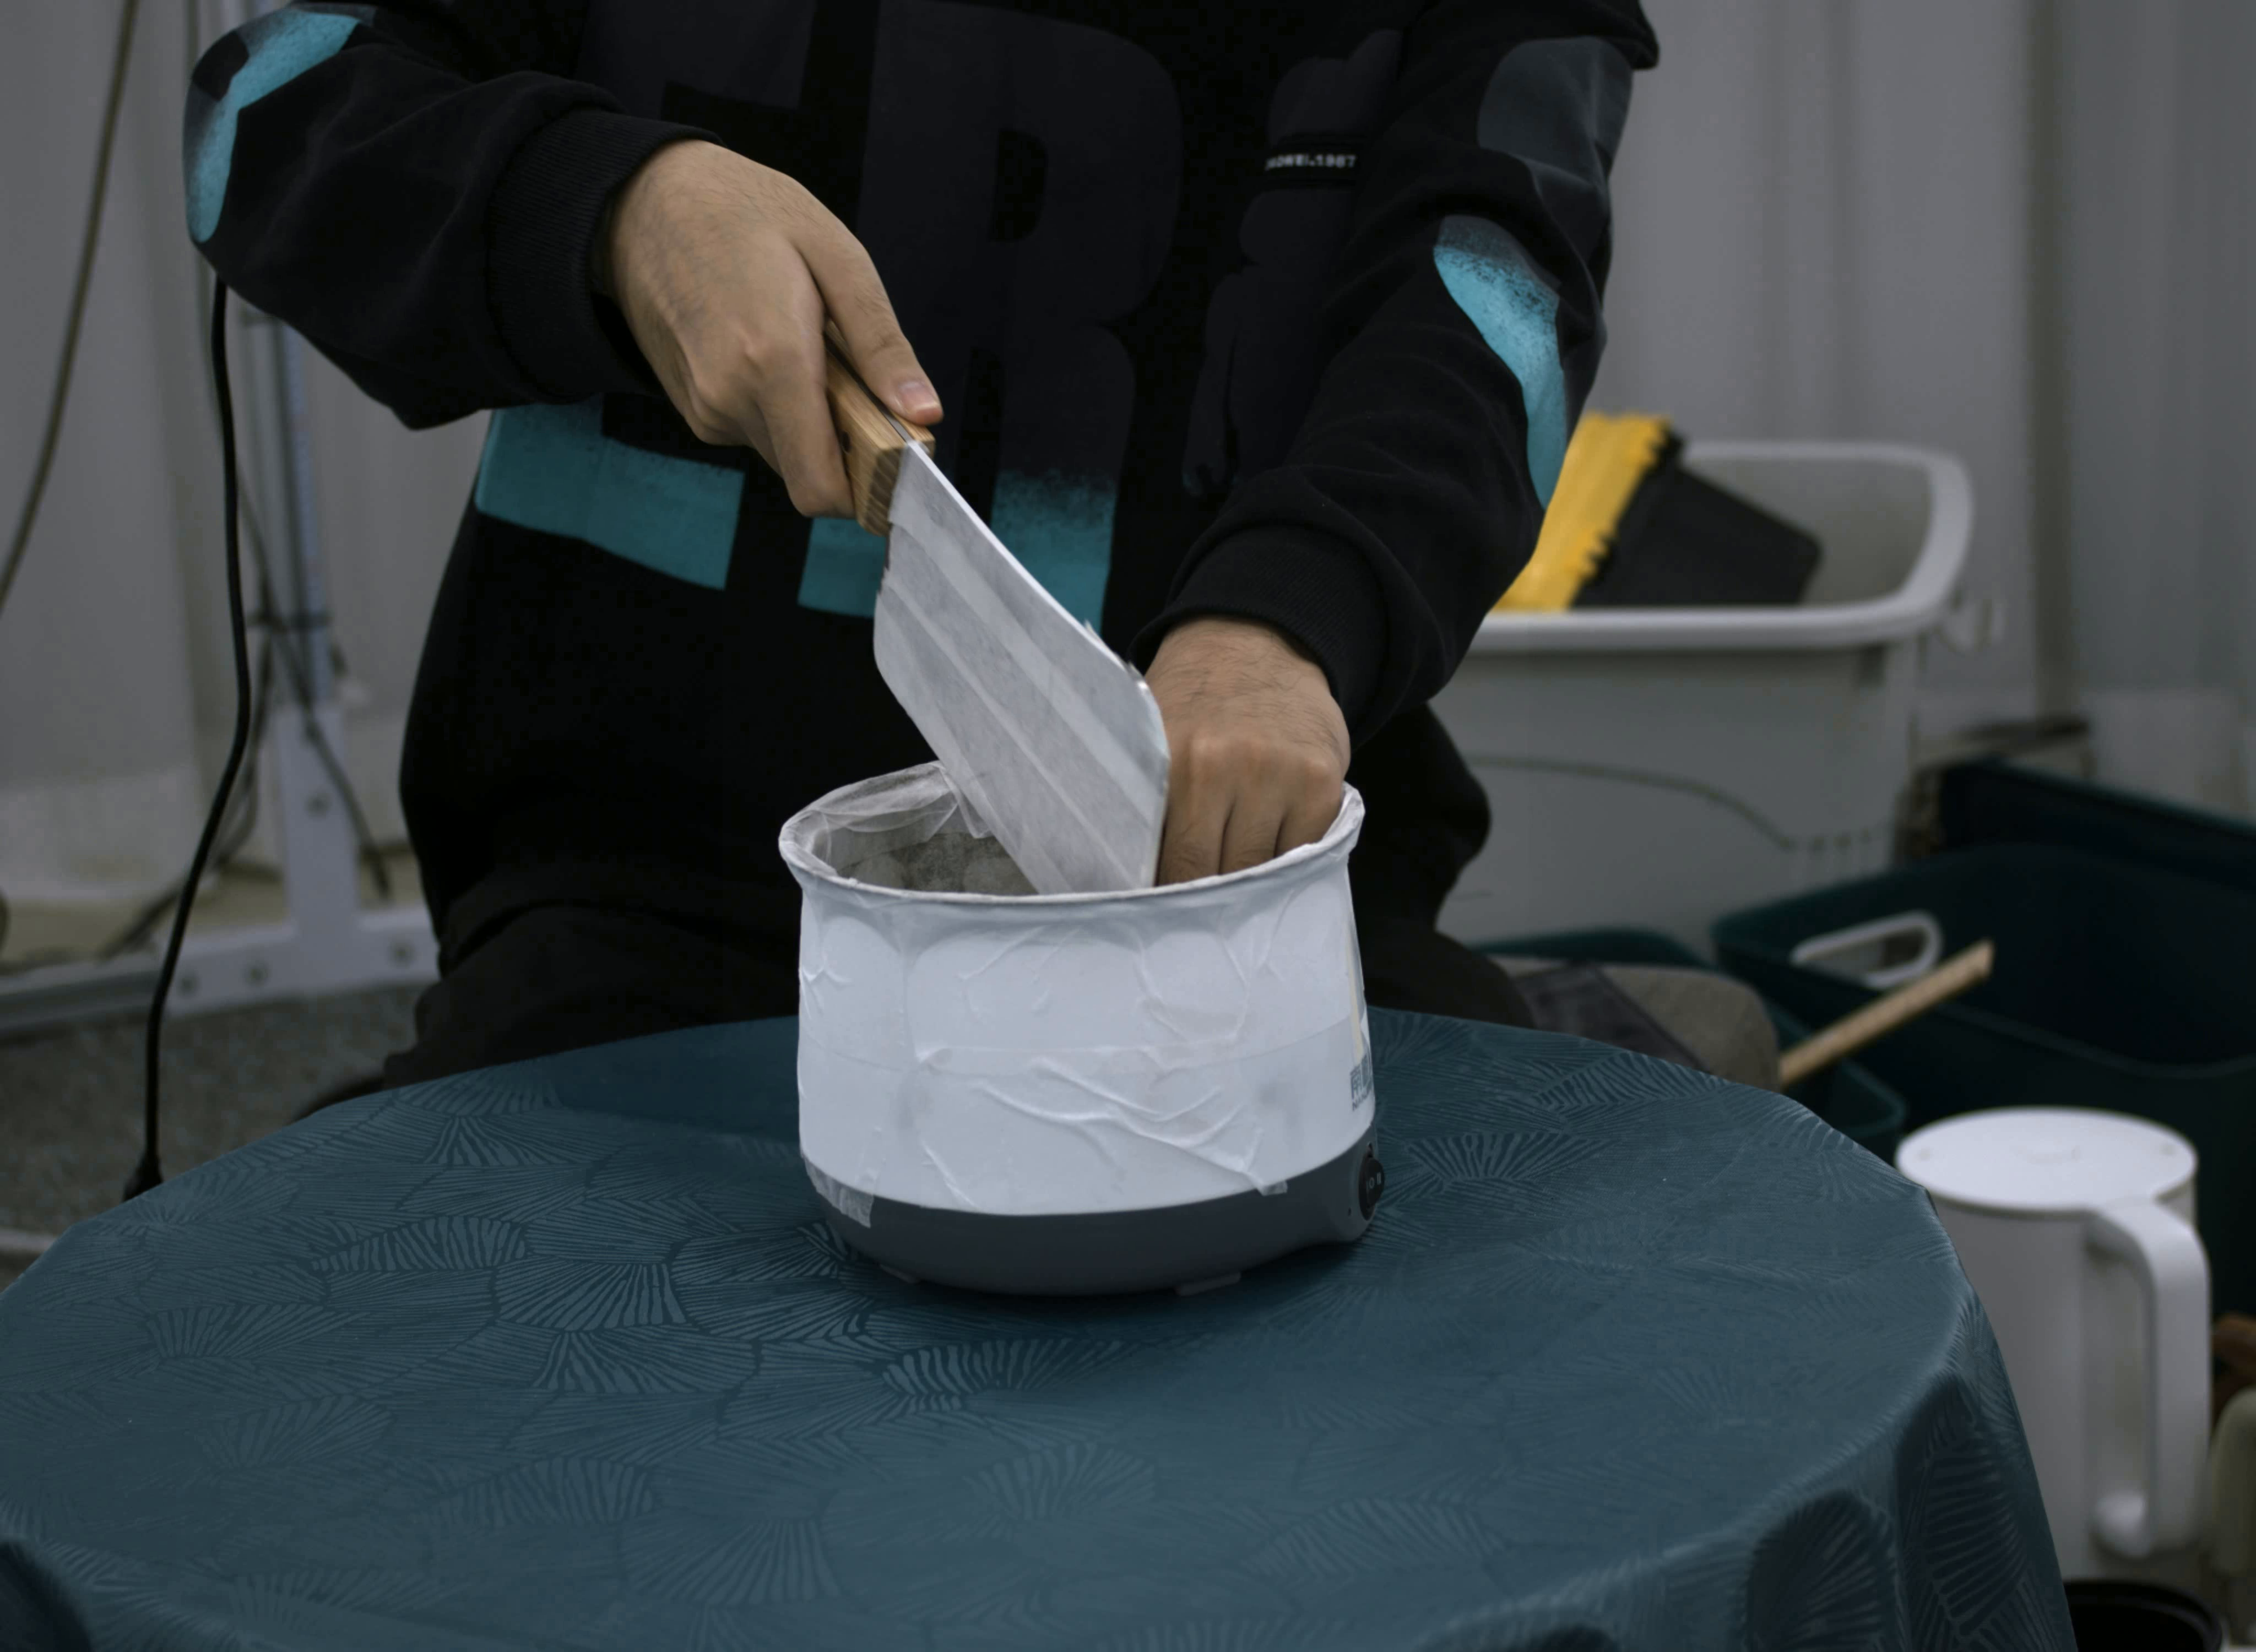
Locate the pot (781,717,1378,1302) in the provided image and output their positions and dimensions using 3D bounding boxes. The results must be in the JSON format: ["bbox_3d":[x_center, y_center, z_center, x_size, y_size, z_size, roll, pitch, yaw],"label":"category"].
[{"bbox_3d":[-0.007,0.051,1.690,0.178,0.136,0.235,1,16,13],"label":"pot"}]

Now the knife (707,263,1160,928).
[{"bbox_3d":[-0.060,-0.079,1.683,0.021,0.113,0.320,-9,41,-26],"label":"knife"}]
